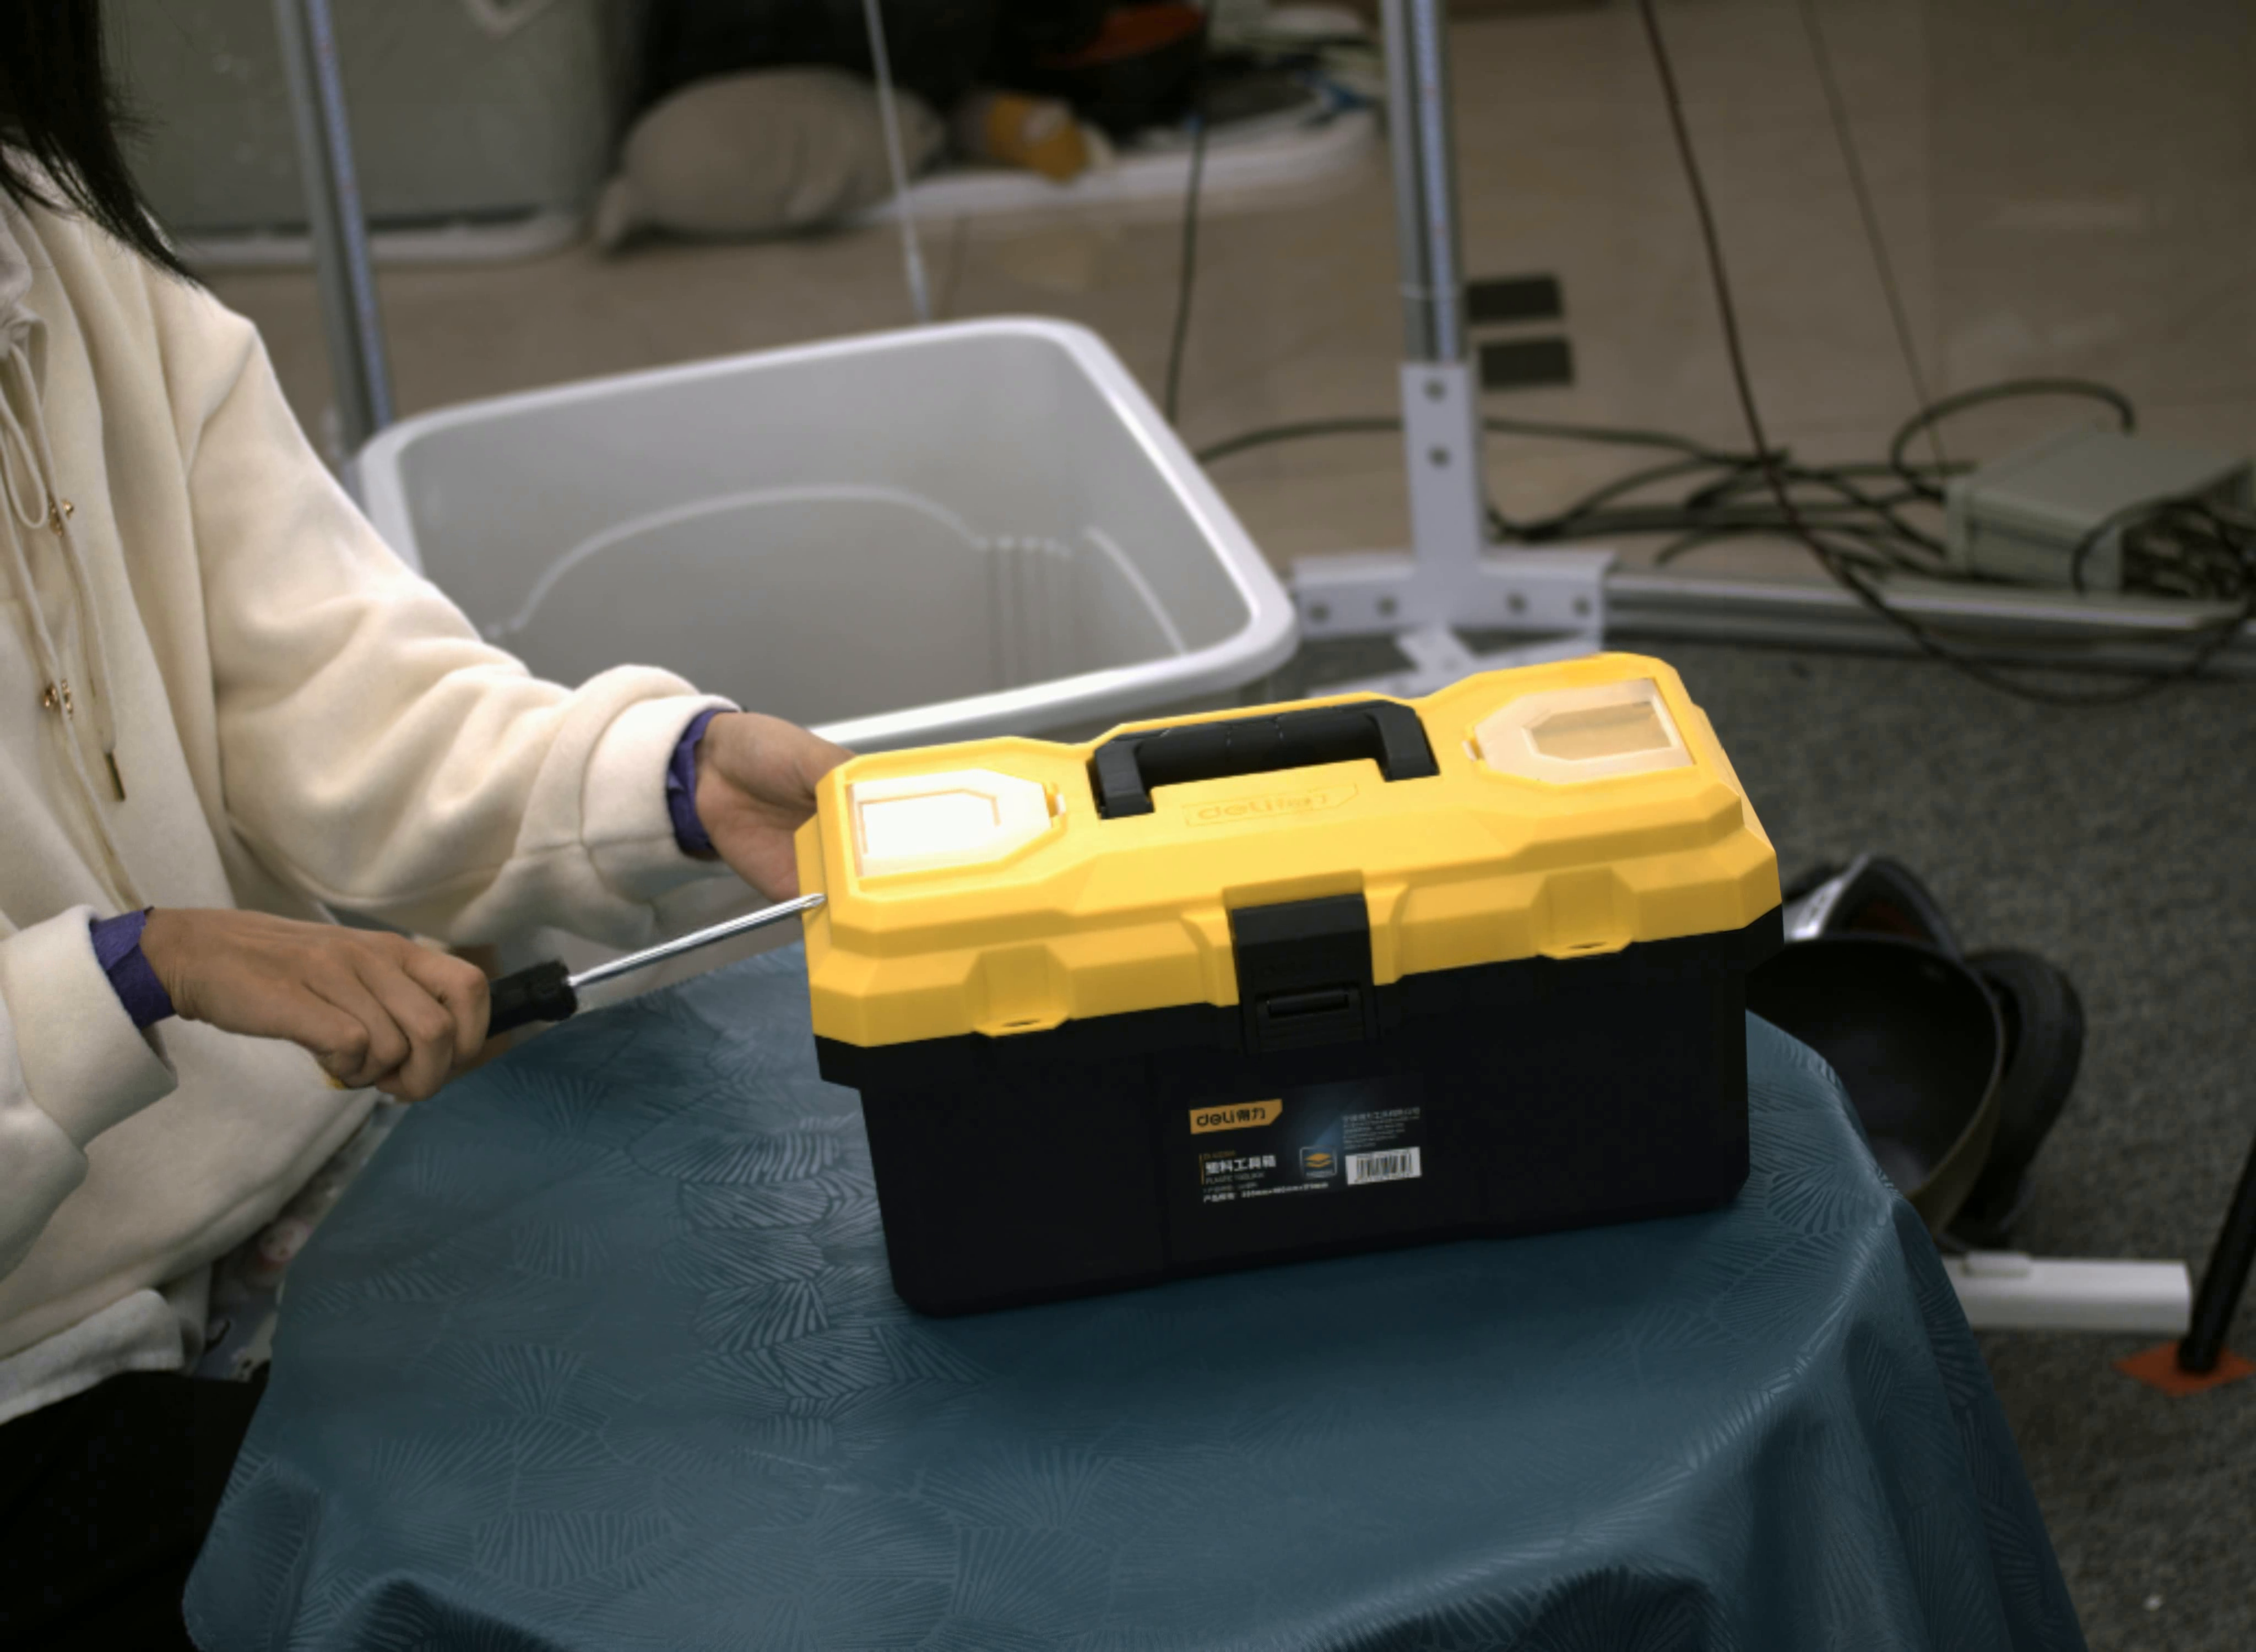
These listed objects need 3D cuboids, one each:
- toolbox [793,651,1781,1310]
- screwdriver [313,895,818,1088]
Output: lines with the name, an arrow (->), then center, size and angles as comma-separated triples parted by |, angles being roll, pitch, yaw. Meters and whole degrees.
toolbox -> 0.058, 0.058, 2.098 | 0.351, 0.175, 0.178 | -7, 25, -2
screwdriver -> -0.203, 0.054, 2.050 | 0.196, 0.032, 0.031 | -20, 24, 9
